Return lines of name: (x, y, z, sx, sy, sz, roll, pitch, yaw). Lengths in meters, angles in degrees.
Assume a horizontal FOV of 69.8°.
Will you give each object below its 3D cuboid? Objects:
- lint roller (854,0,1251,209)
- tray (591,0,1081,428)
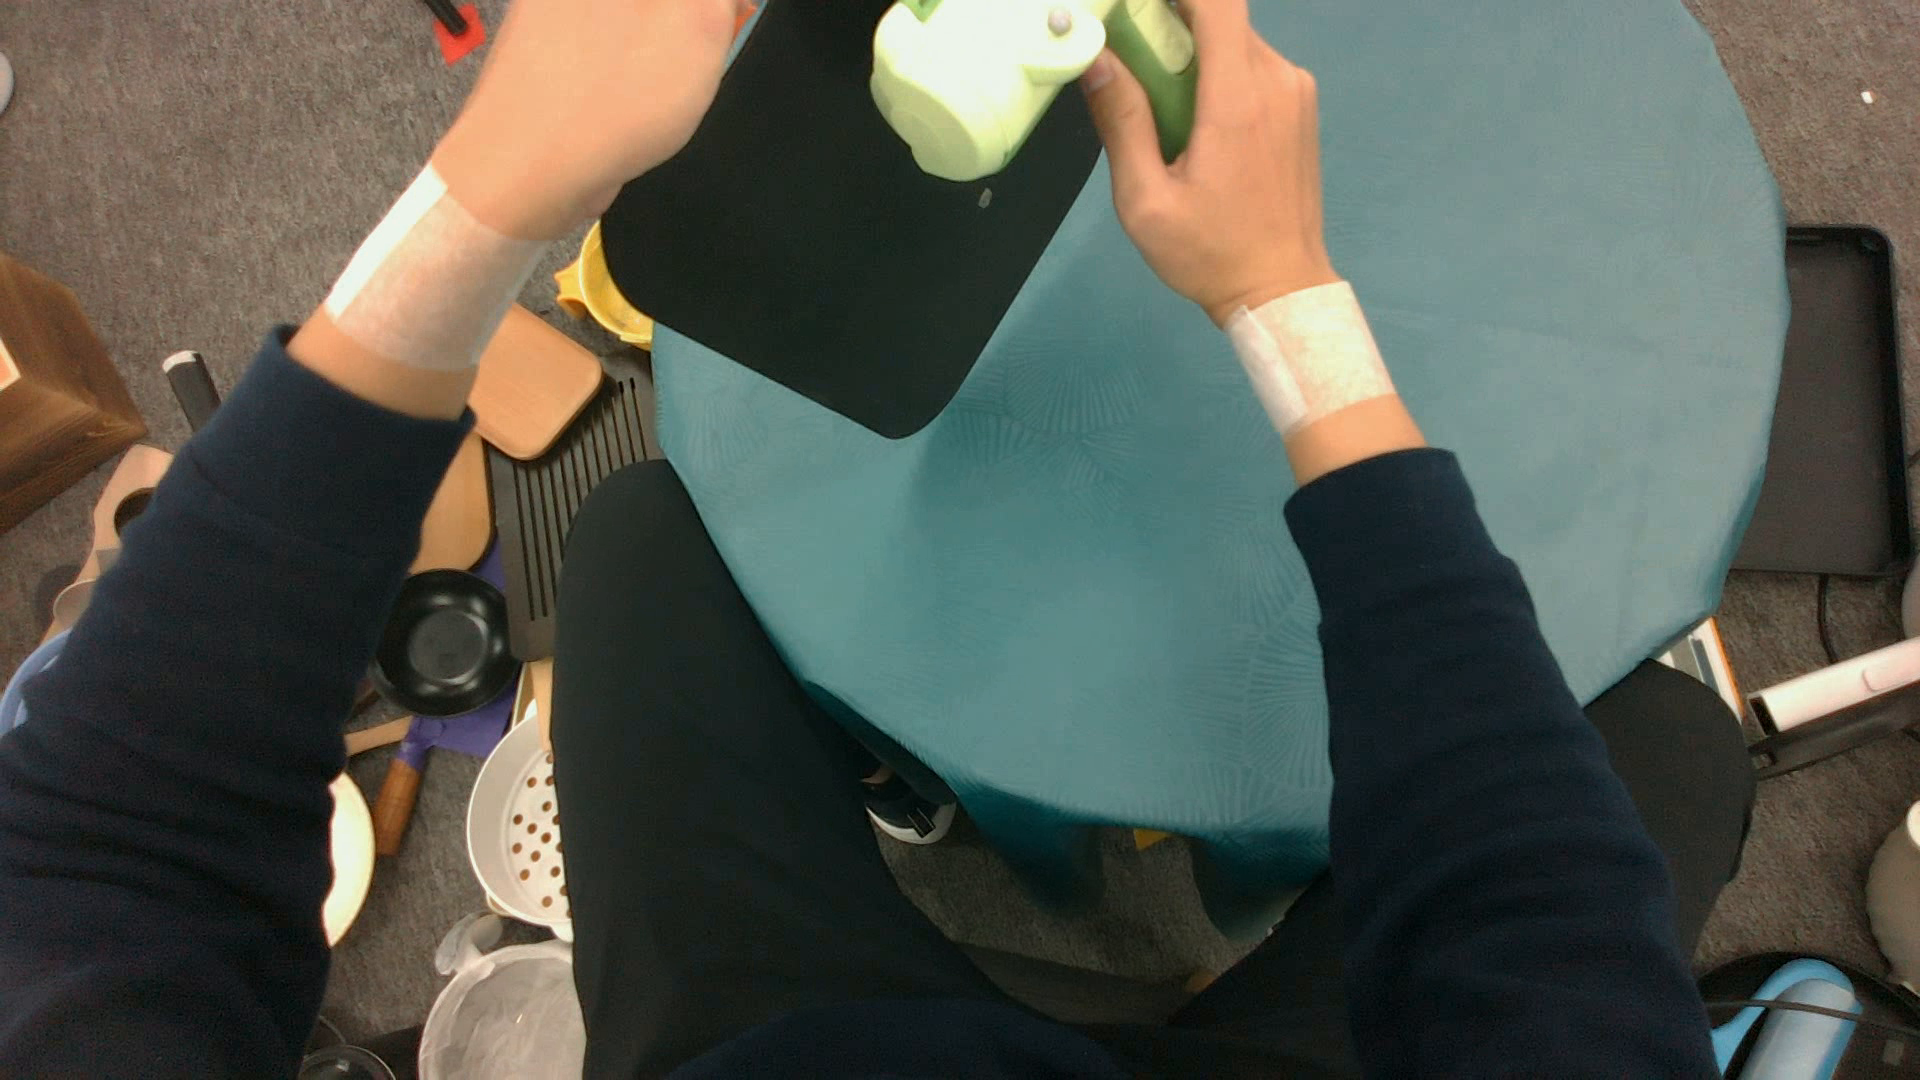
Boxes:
lint roller: (0.073, -0.191, 0.513, 0.183, 0.082, 0.199, 39, 74, -29)
tray: (-0.034, -0.162, 0.581, 0.010, 0.325, 0.211, 32, 95, 20)
